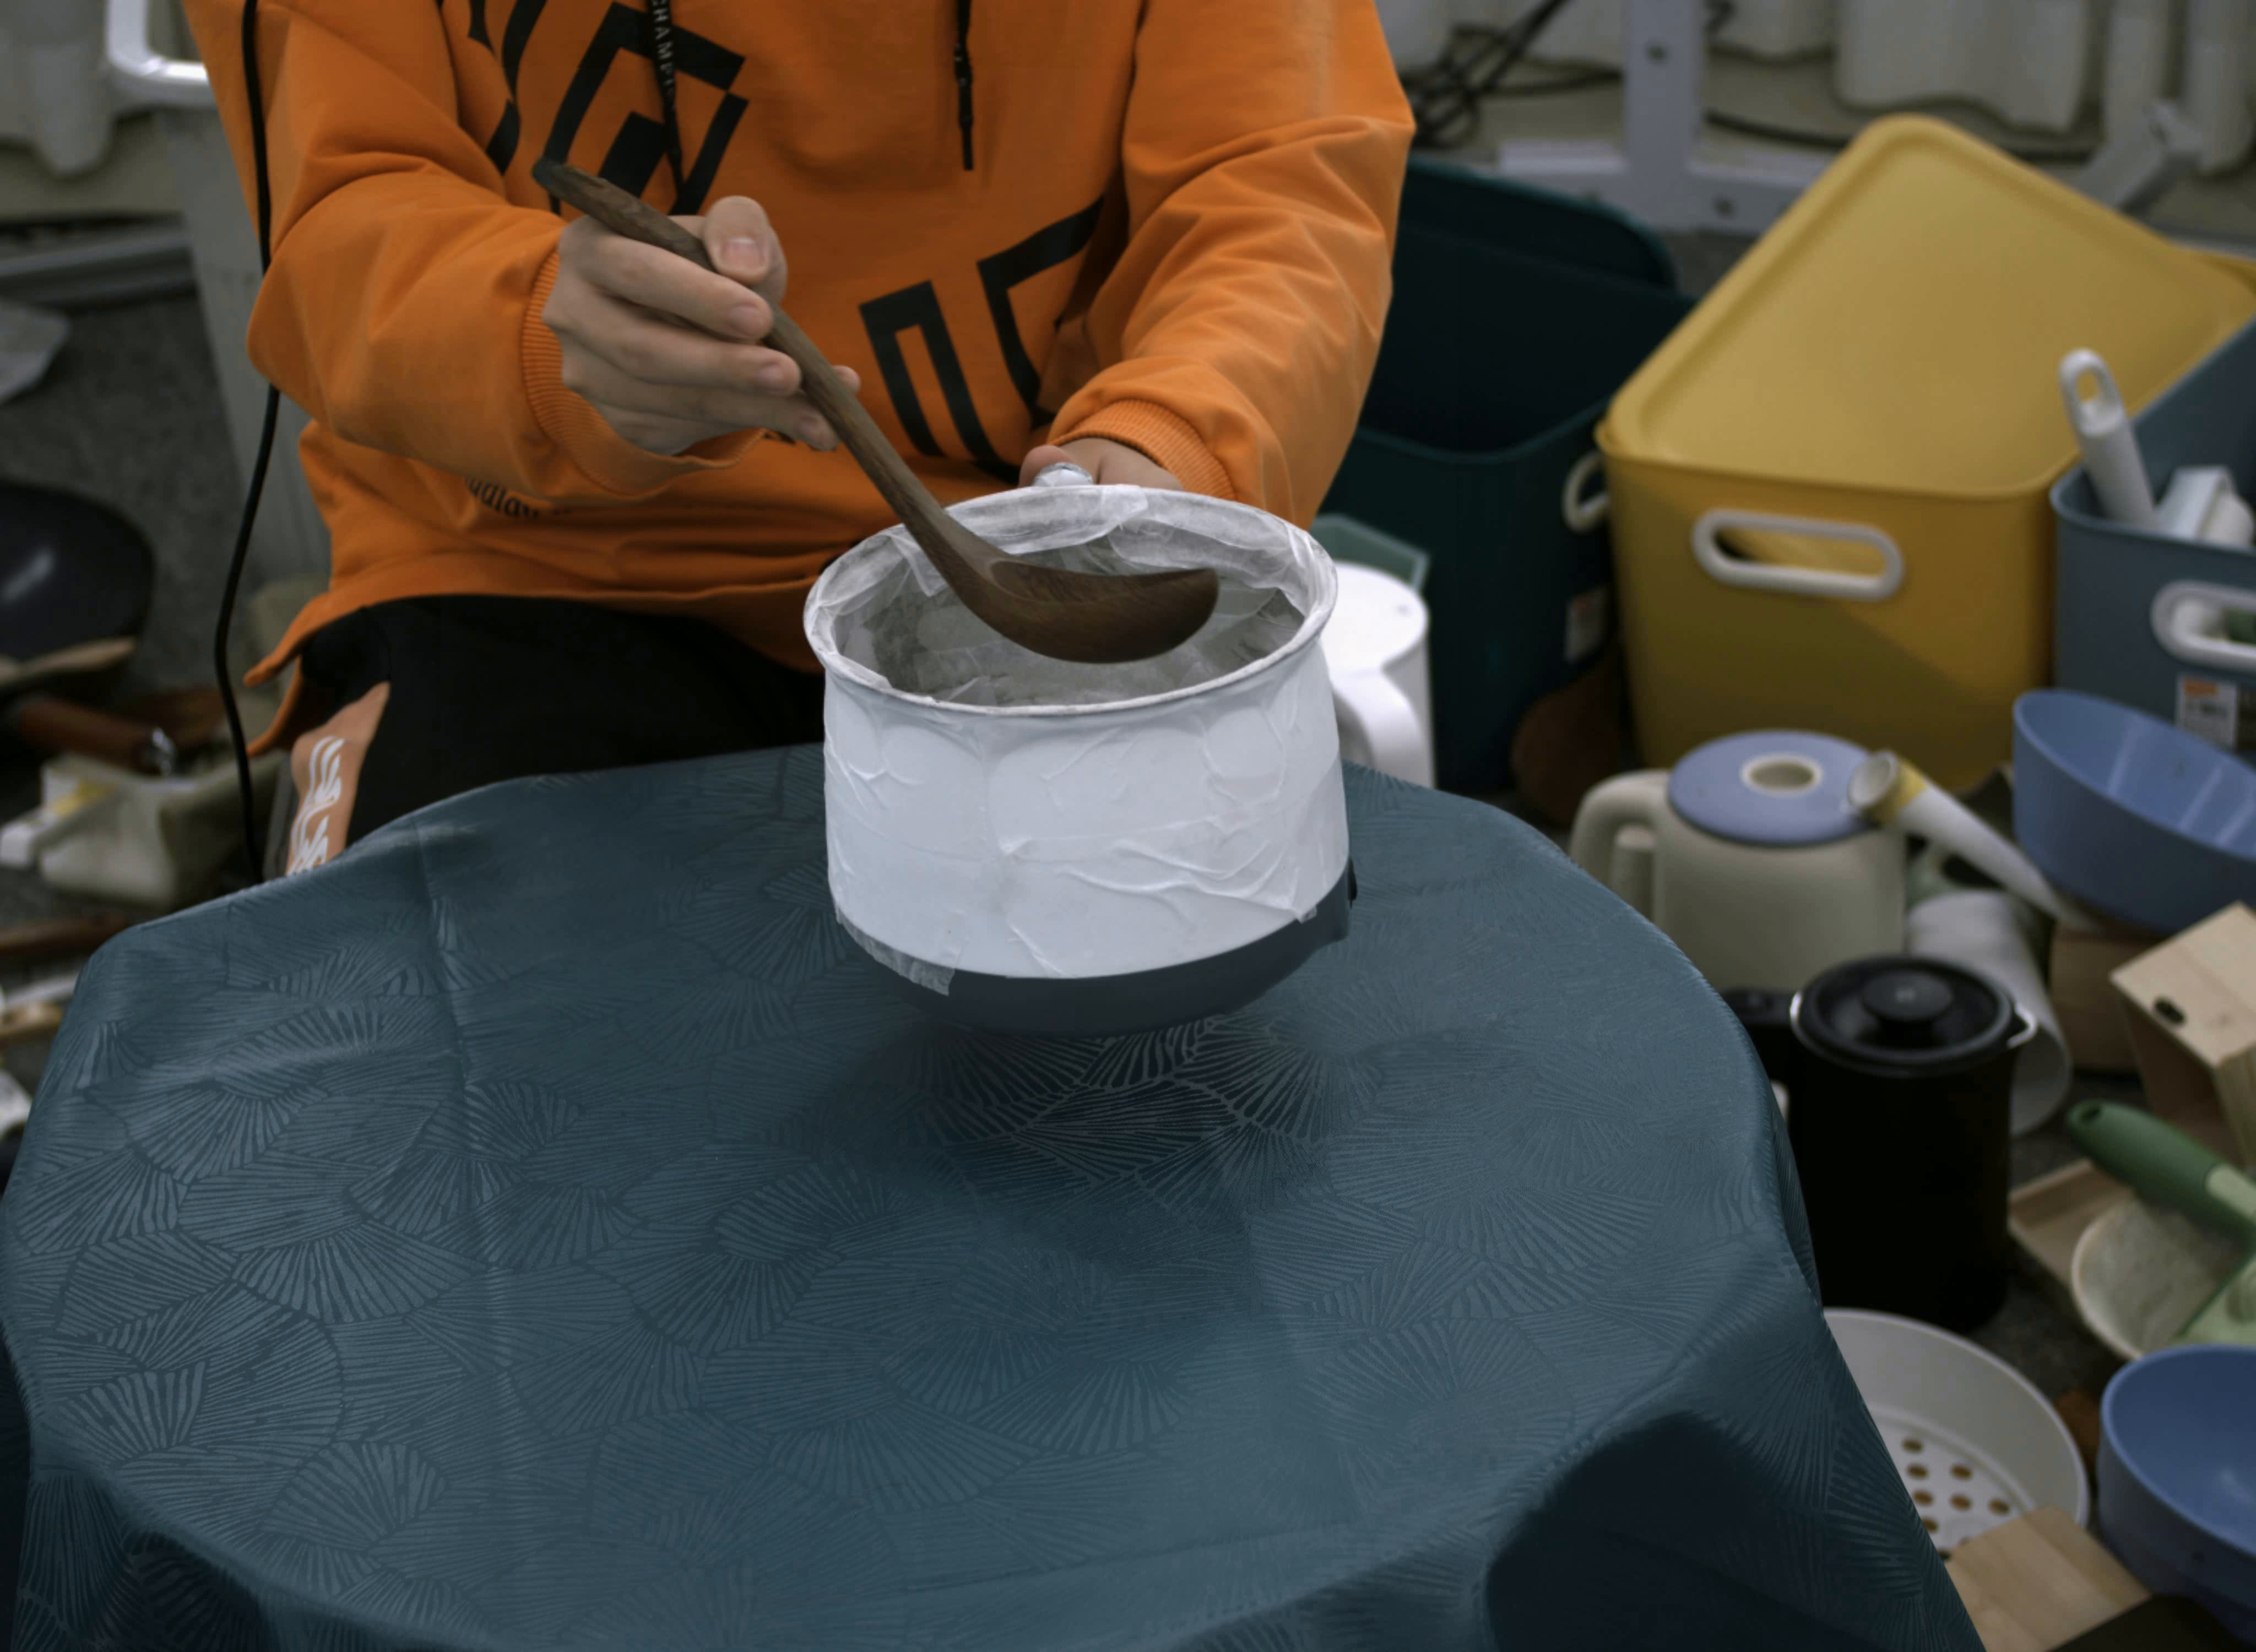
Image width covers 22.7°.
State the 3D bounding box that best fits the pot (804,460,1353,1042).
[{"bbox_3d":[-0.017,-0.032,1.901,0.178,0.135,0.237,-4,26,-3],"label":"pot"}]

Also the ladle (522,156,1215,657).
[{"bbox_3d":[-0.085,-0.152,1.877,0.275,0.071,0.076,45,14,9],"label":"ladle"}]
